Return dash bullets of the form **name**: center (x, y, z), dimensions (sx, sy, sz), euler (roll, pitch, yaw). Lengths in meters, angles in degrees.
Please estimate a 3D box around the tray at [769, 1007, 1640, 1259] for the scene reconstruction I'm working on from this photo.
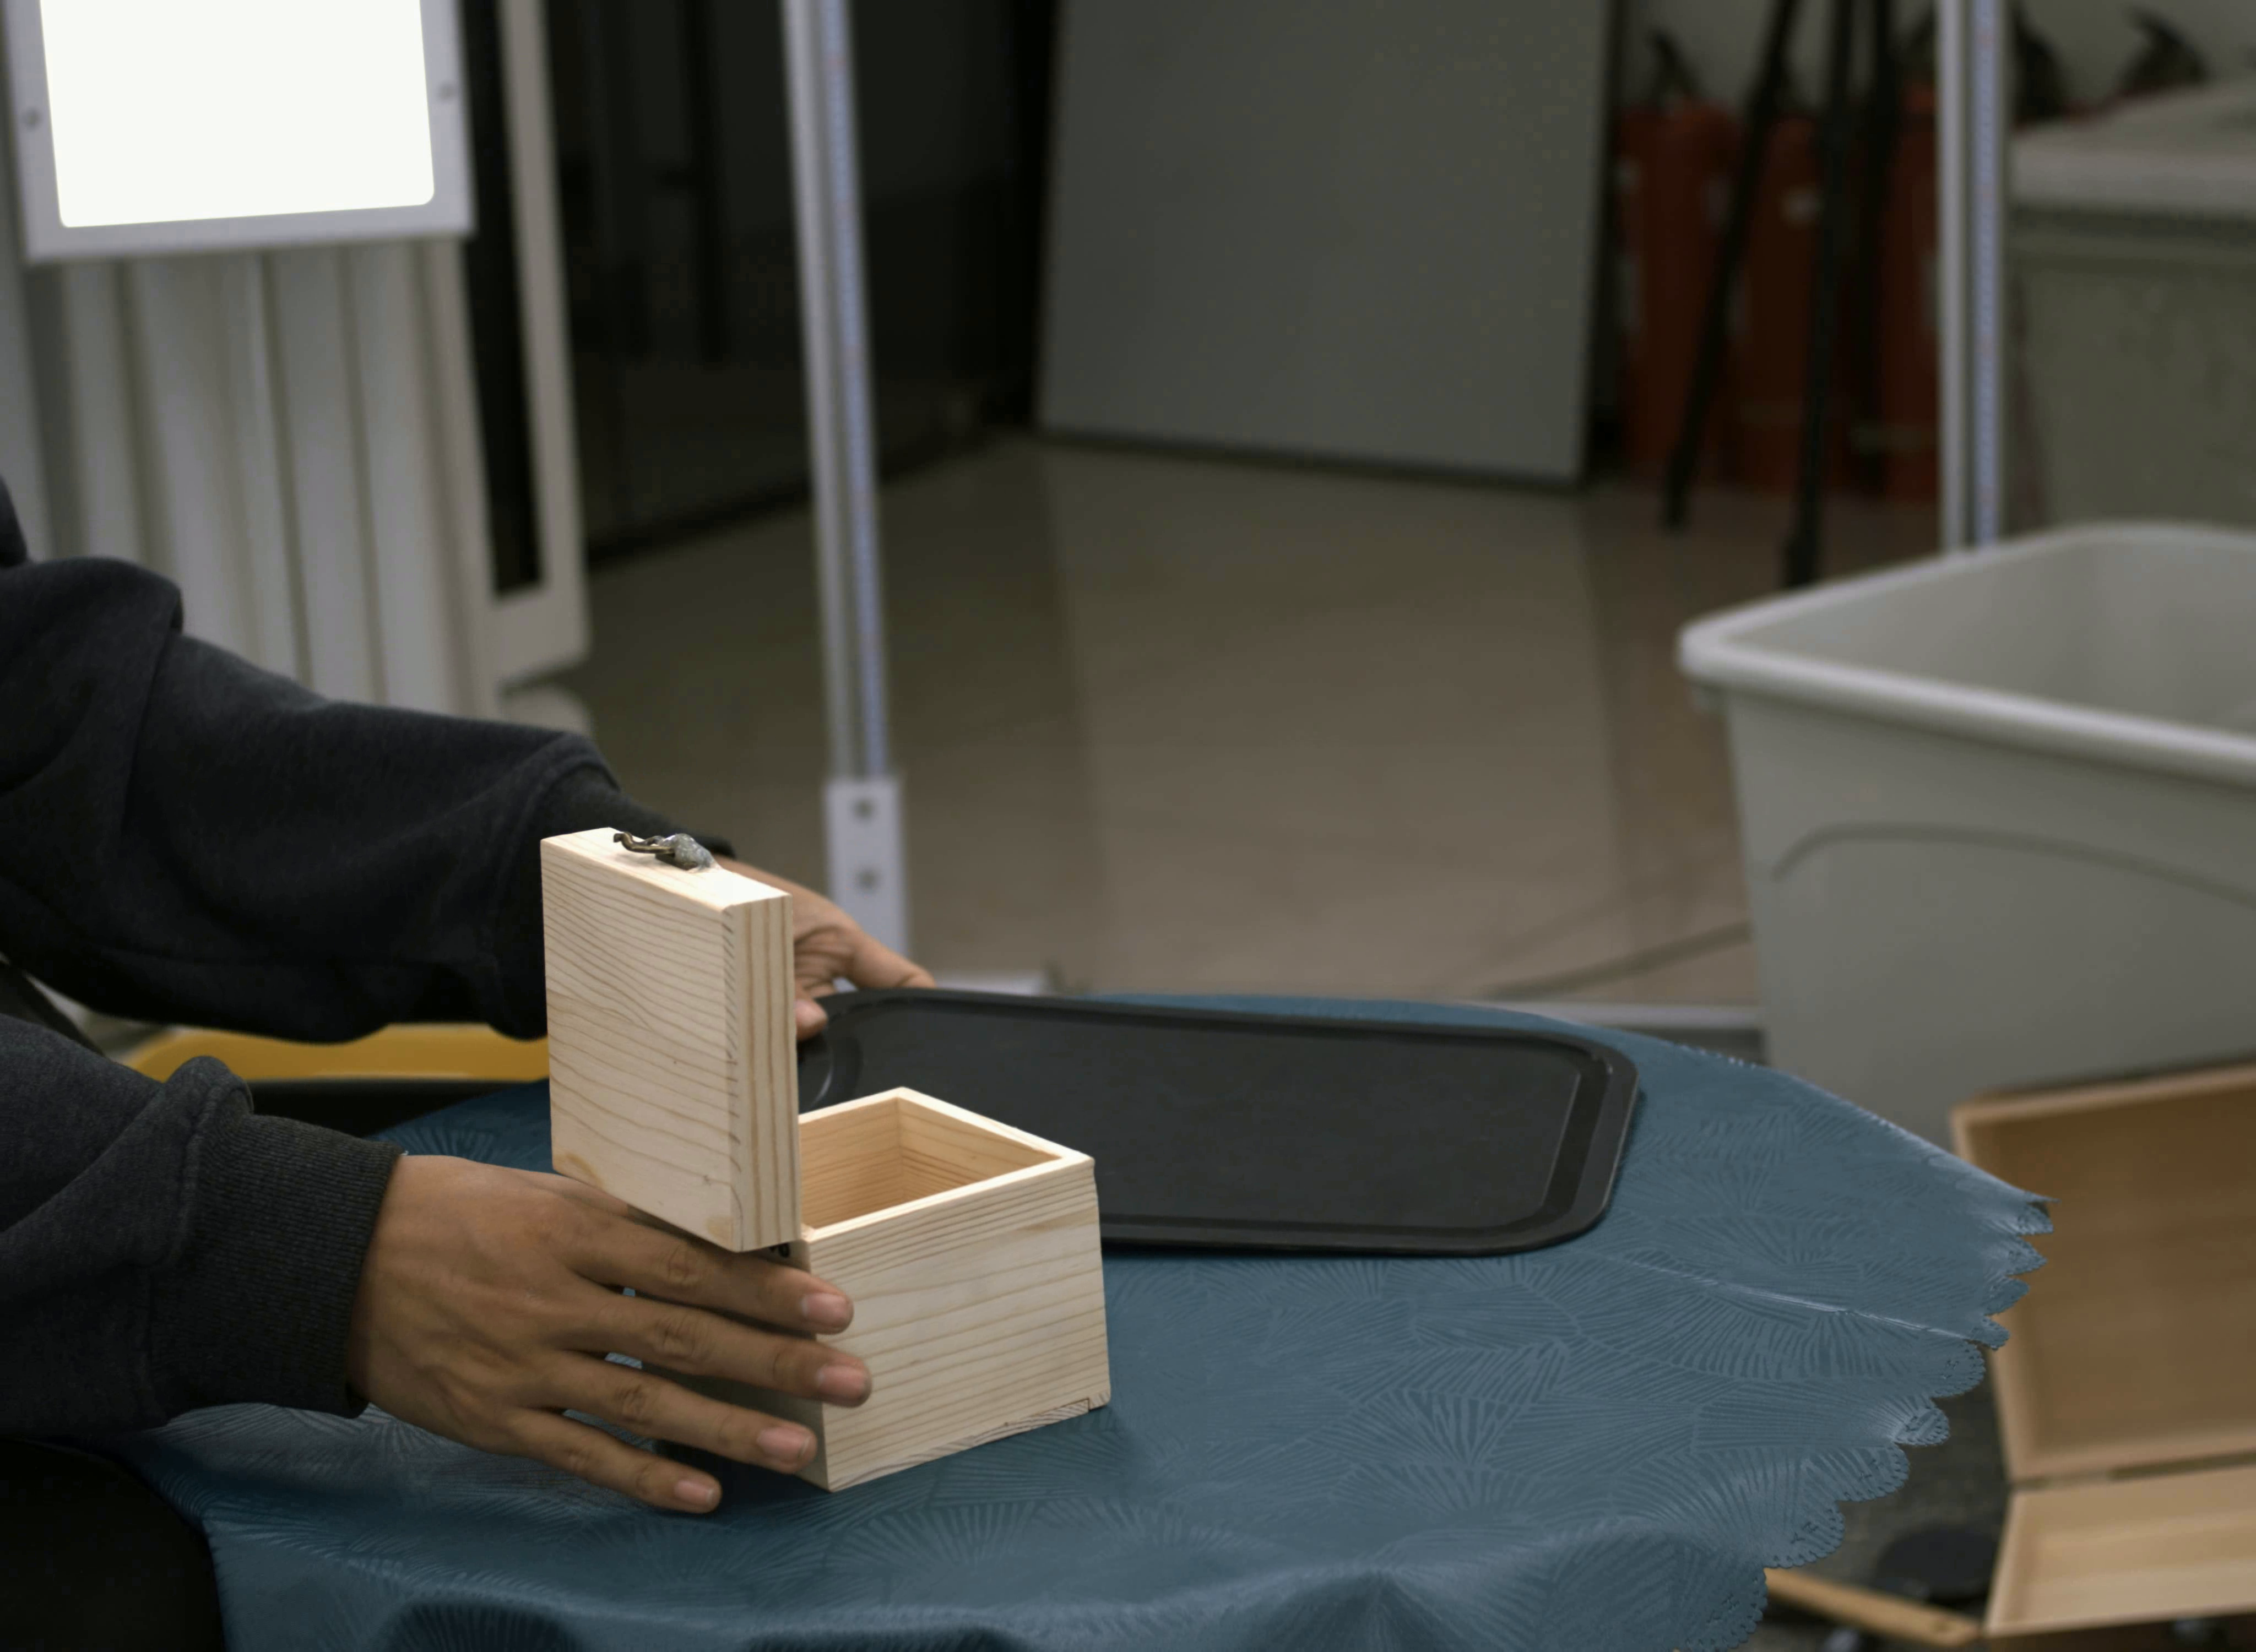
- **tray**: center (0.005, 0.098, 1.800), dimensions (0.323, 0.010, 0.210), euler (3, 17, 12)

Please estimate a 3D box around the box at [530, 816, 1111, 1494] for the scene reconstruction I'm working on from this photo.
- **box**: center (-0.087, 0.083, 1.558), dimensions (0.131, 0.186, 0.103), euler (-15, 17, -34)
